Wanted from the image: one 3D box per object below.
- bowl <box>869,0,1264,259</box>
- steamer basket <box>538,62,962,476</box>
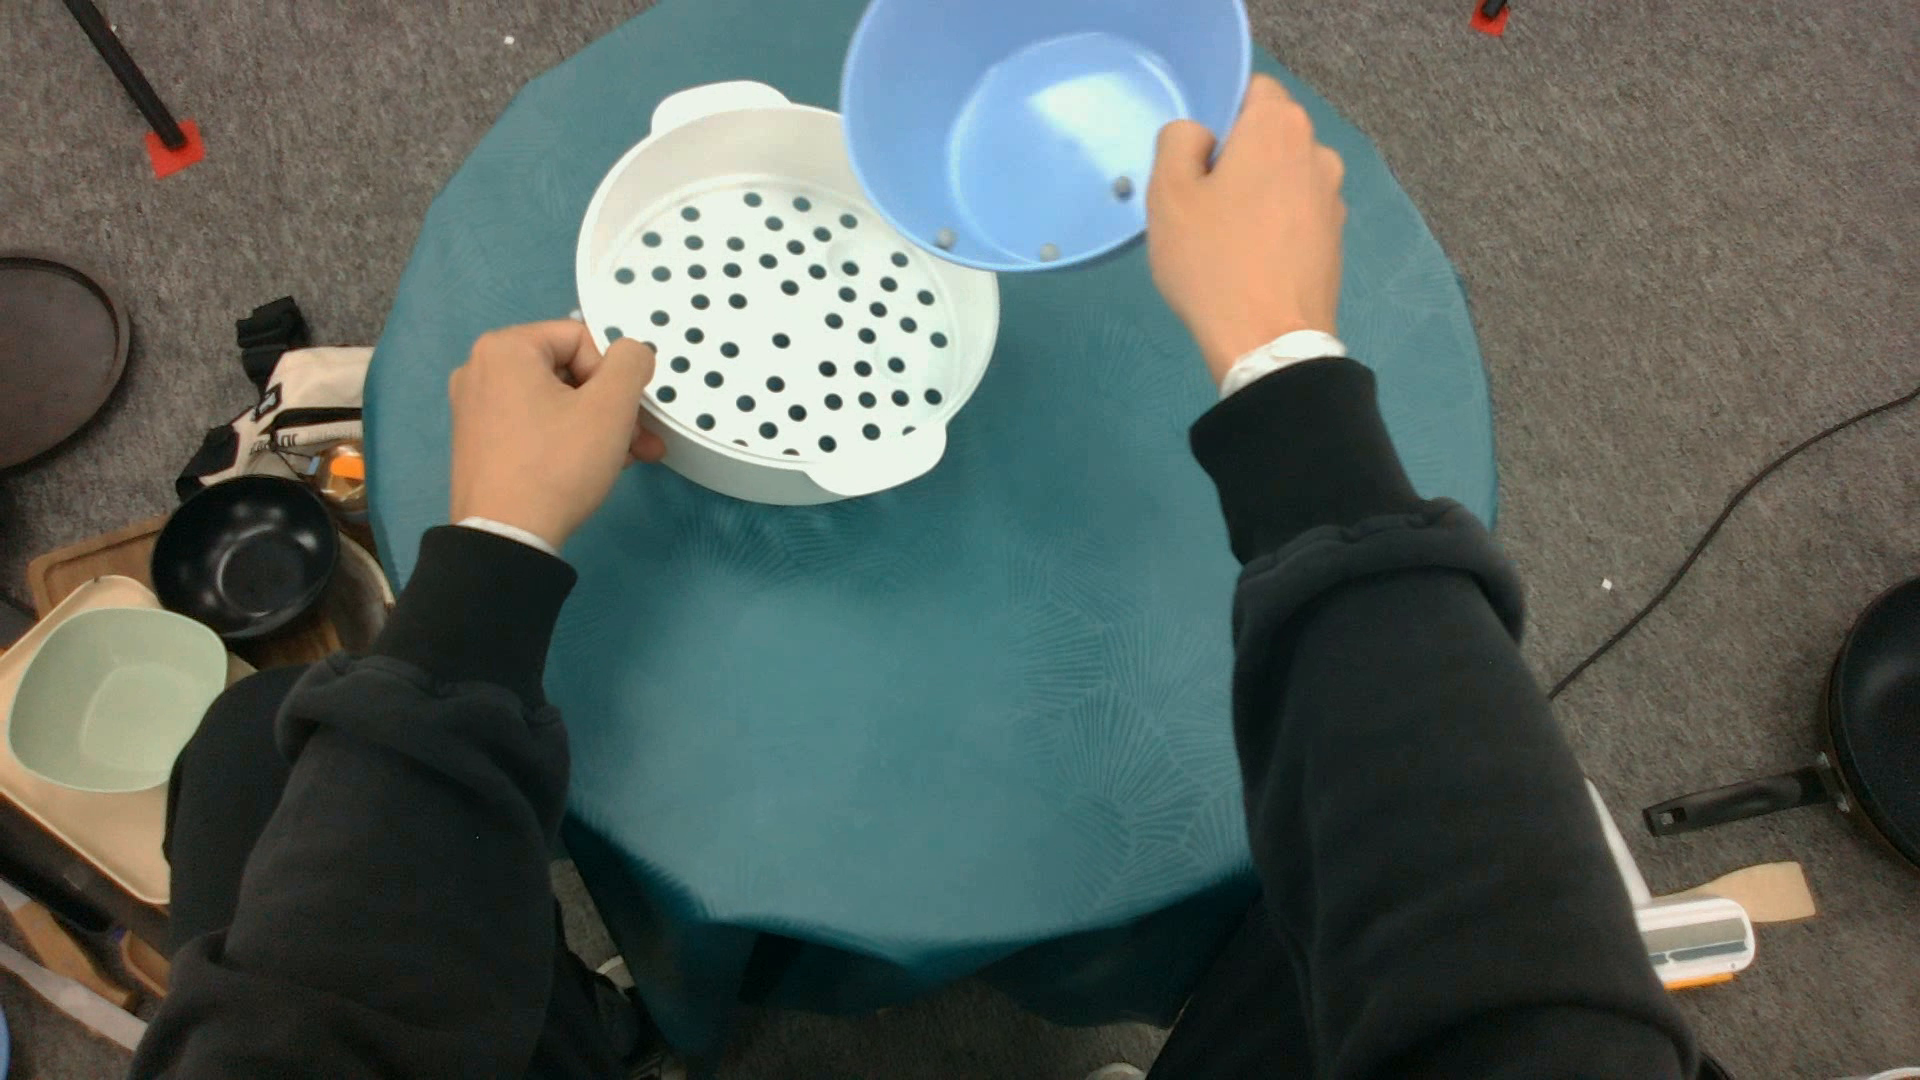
[{"bbox_3d":[0.052,-0.196,0.617,0.176,0.070,0.176,-5,75,19],"label":"bowl"},{"bbox_3d":[-0.103,-0.128,0.684,0.202,0.069,0.231,-22,74,-23],"label":"steamer basket"}]
